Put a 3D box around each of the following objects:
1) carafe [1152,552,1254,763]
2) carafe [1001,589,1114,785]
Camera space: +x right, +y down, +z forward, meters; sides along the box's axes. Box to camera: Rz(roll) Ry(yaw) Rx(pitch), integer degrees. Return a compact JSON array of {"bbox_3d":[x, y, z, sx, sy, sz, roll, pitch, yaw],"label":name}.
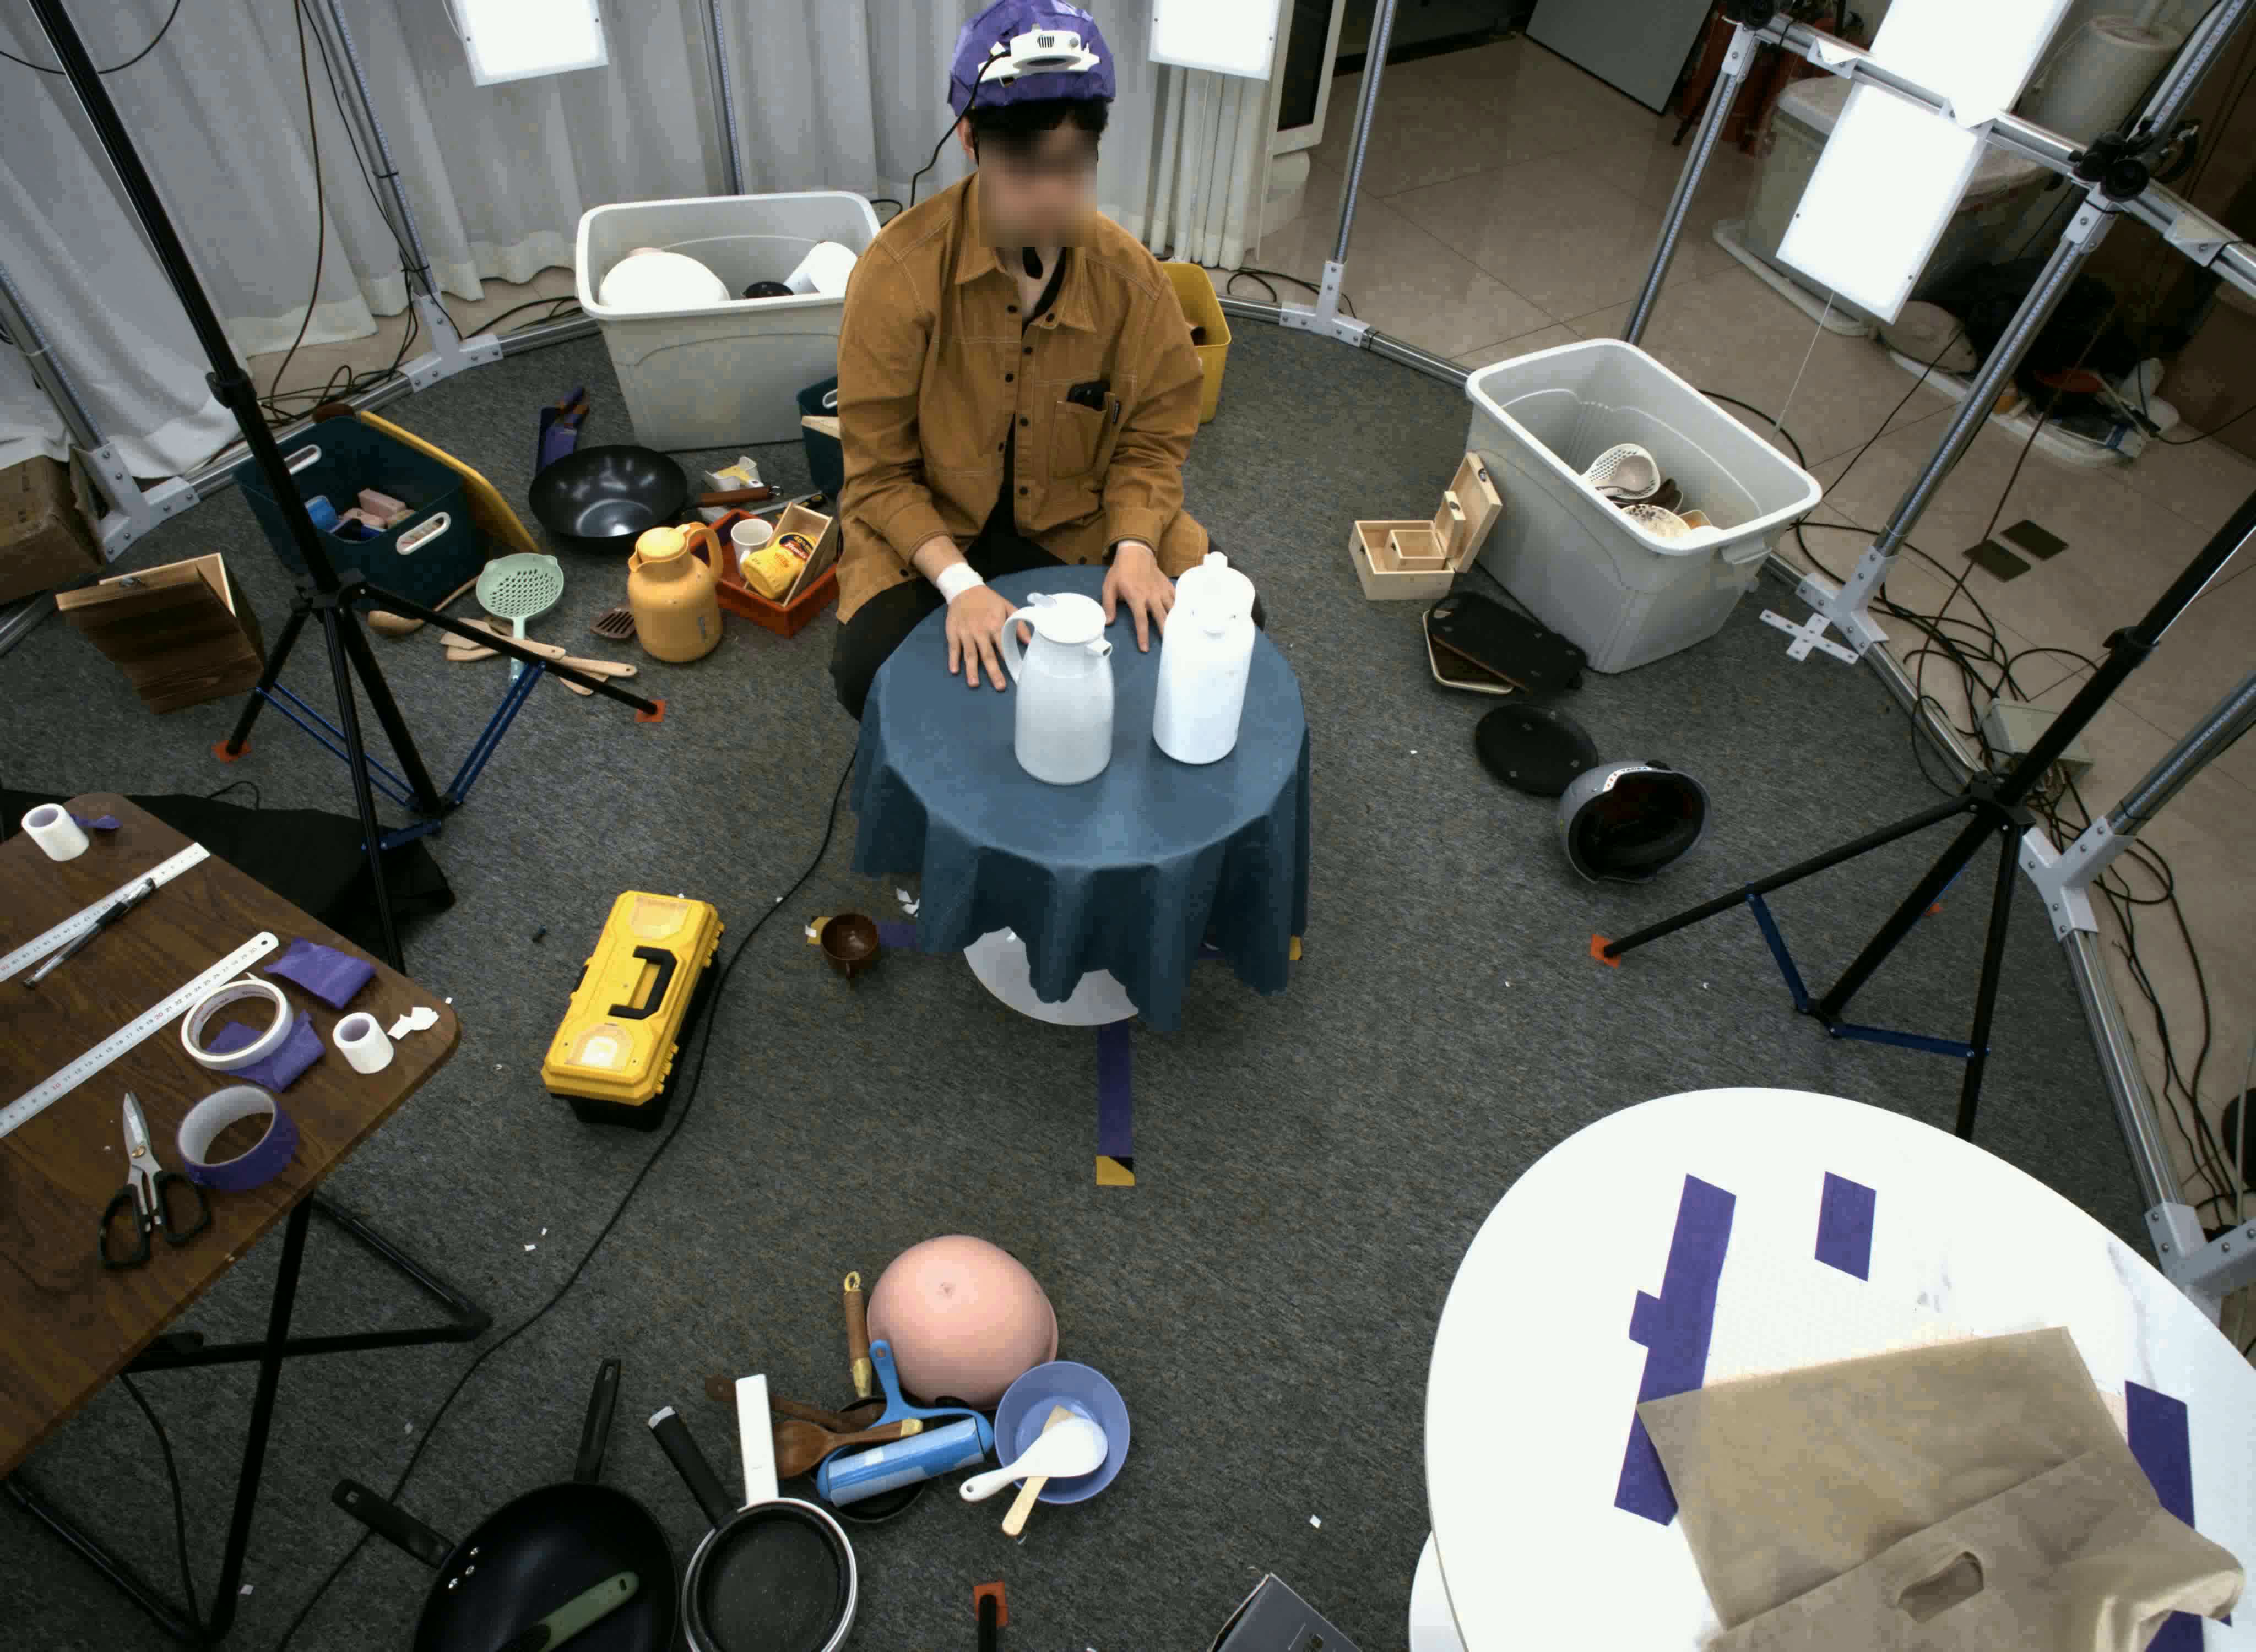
[{"bbox_3d":[0.099,-0.223,1.697,0.124,0.262,0.177,3,49,1],"label":"carafe"},{"bbox_3d":[-0.097,-0.192,1.668,0.170,0.242,0.134,32,54,23],"label":"carafe"}]
